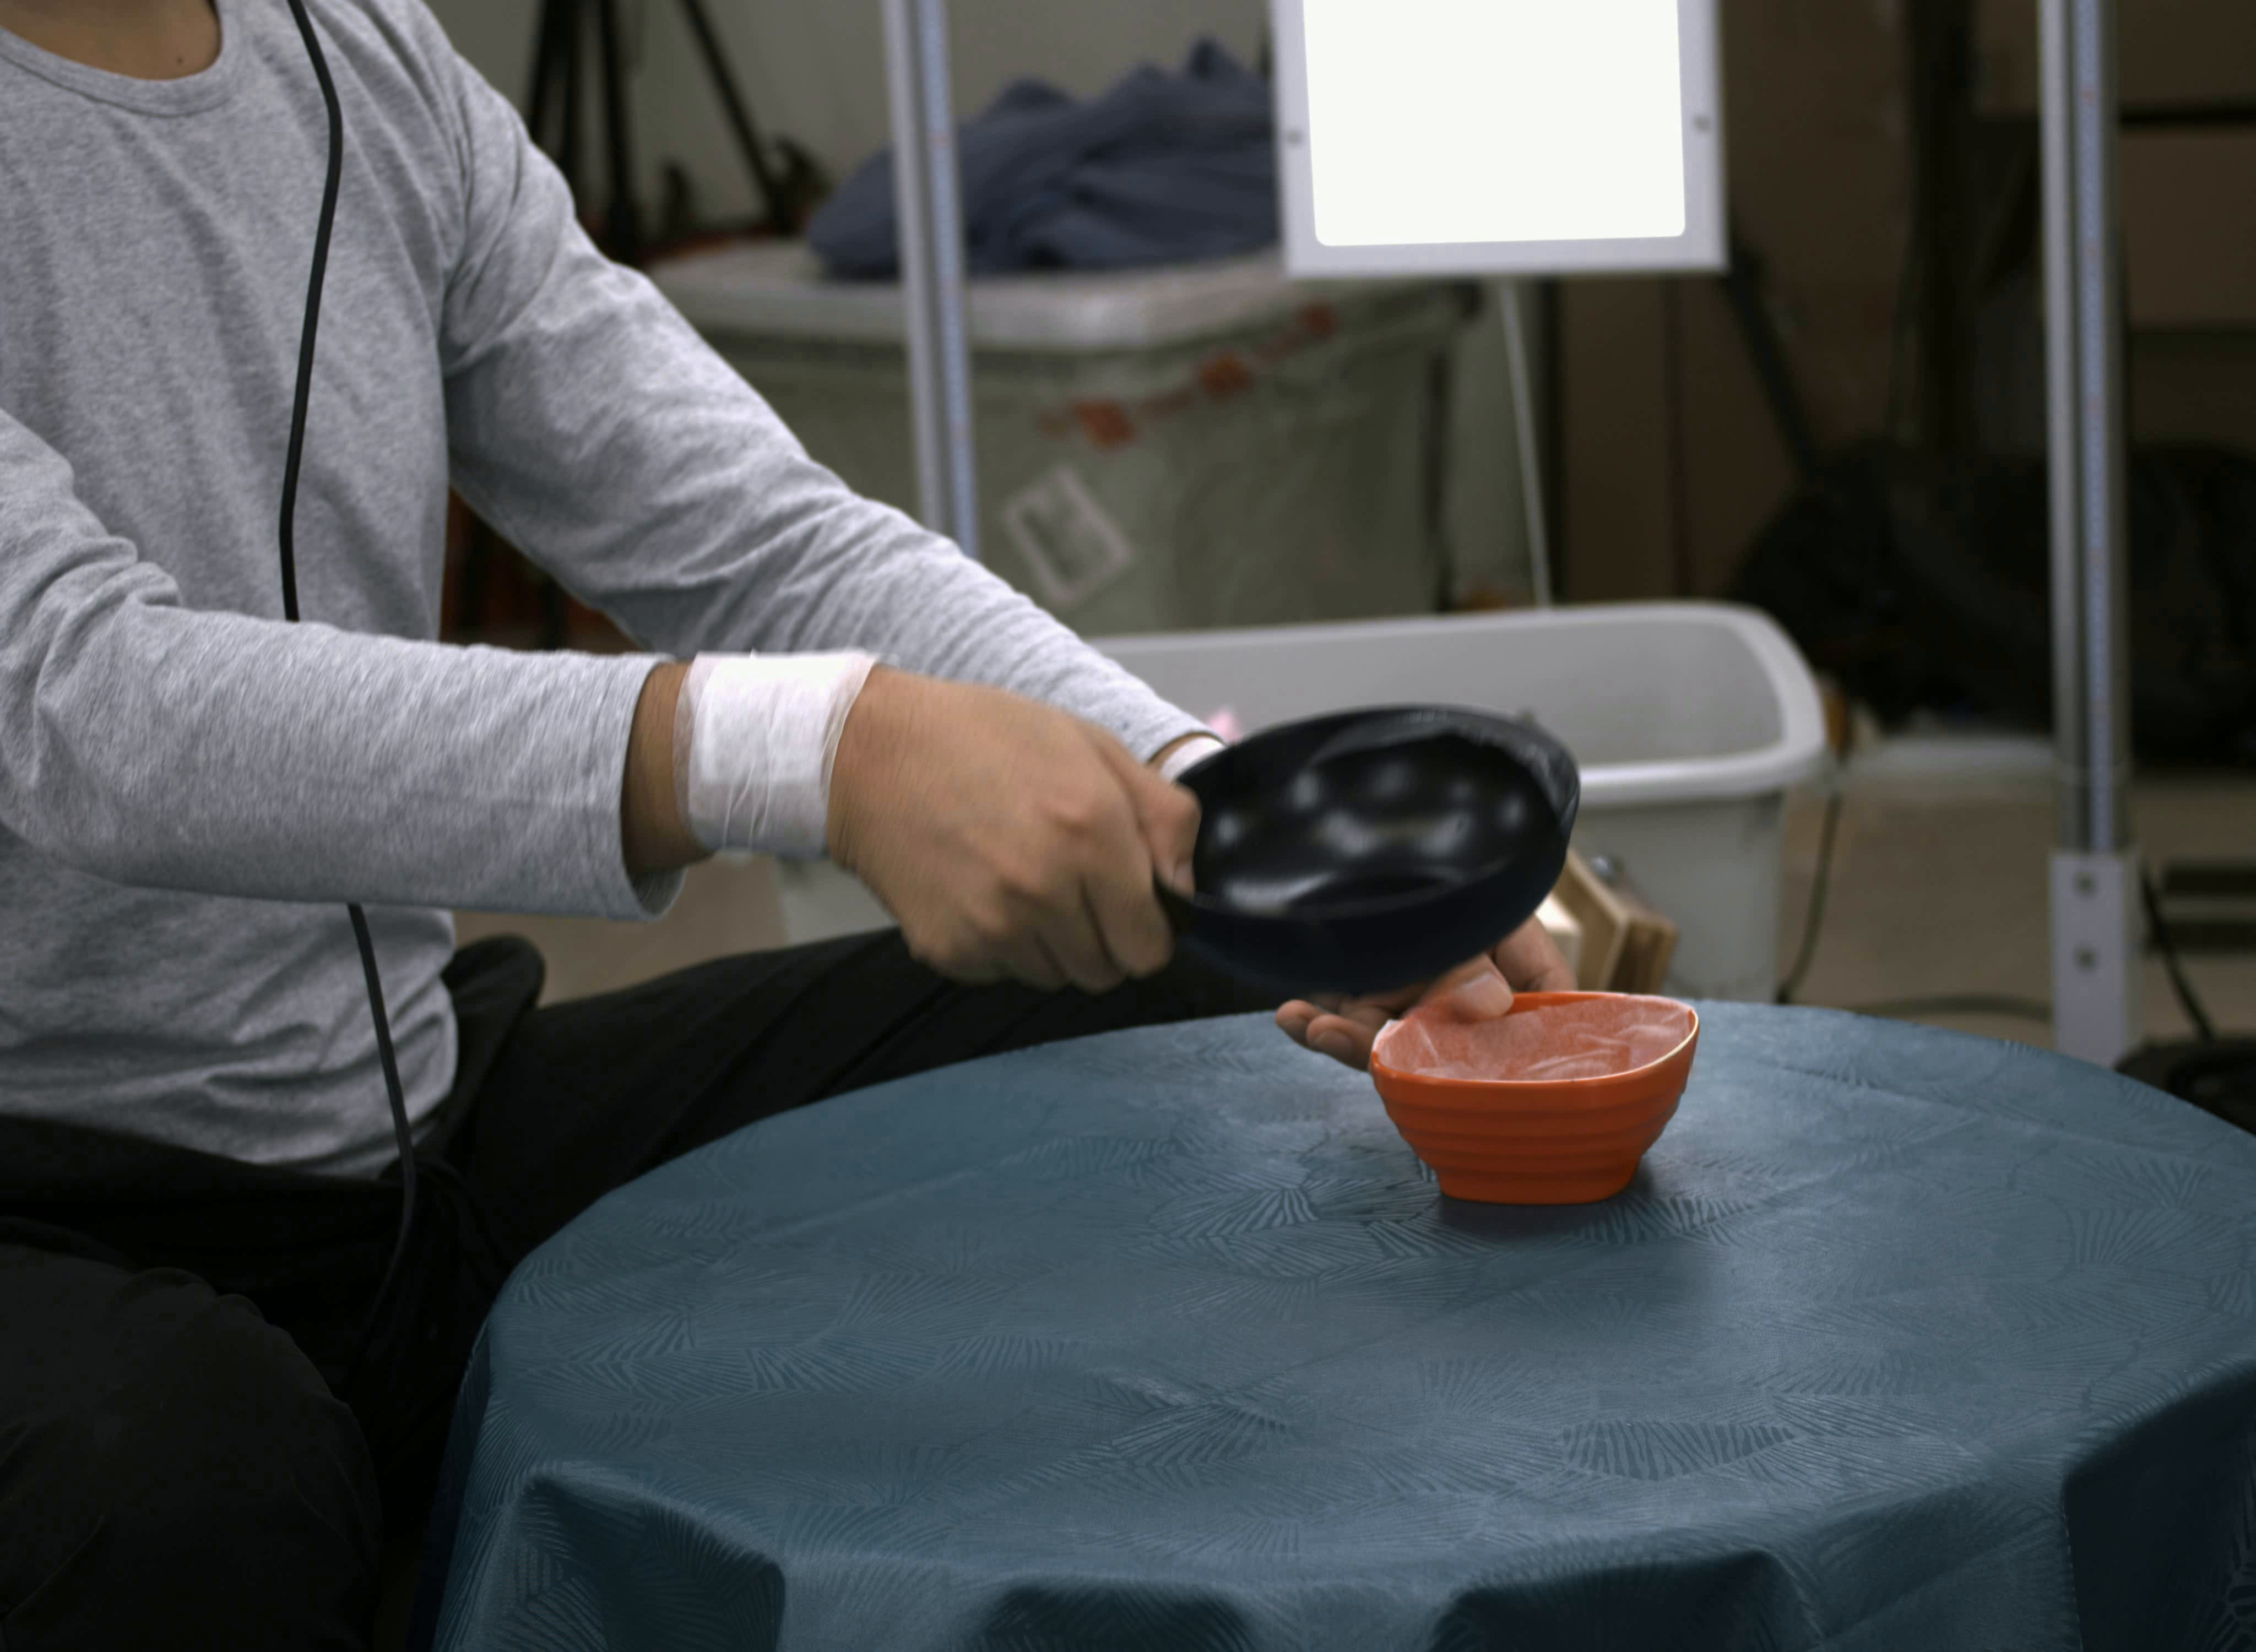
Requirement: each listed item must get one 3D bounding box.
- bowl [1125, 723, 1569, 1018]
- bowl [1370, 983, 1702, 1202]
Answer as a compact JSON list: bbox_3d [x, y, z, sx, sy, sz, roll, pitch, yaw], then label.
[{"bbox_3d":[0.072,0.021,1.693,0.140,0.050,0.139,-13,25,5],"label":"bowl"},{"bbox_3d":[0.140,0.093,1.874,0.118,0.051,0.119,-3,16,0],"label":"bowl"}]
